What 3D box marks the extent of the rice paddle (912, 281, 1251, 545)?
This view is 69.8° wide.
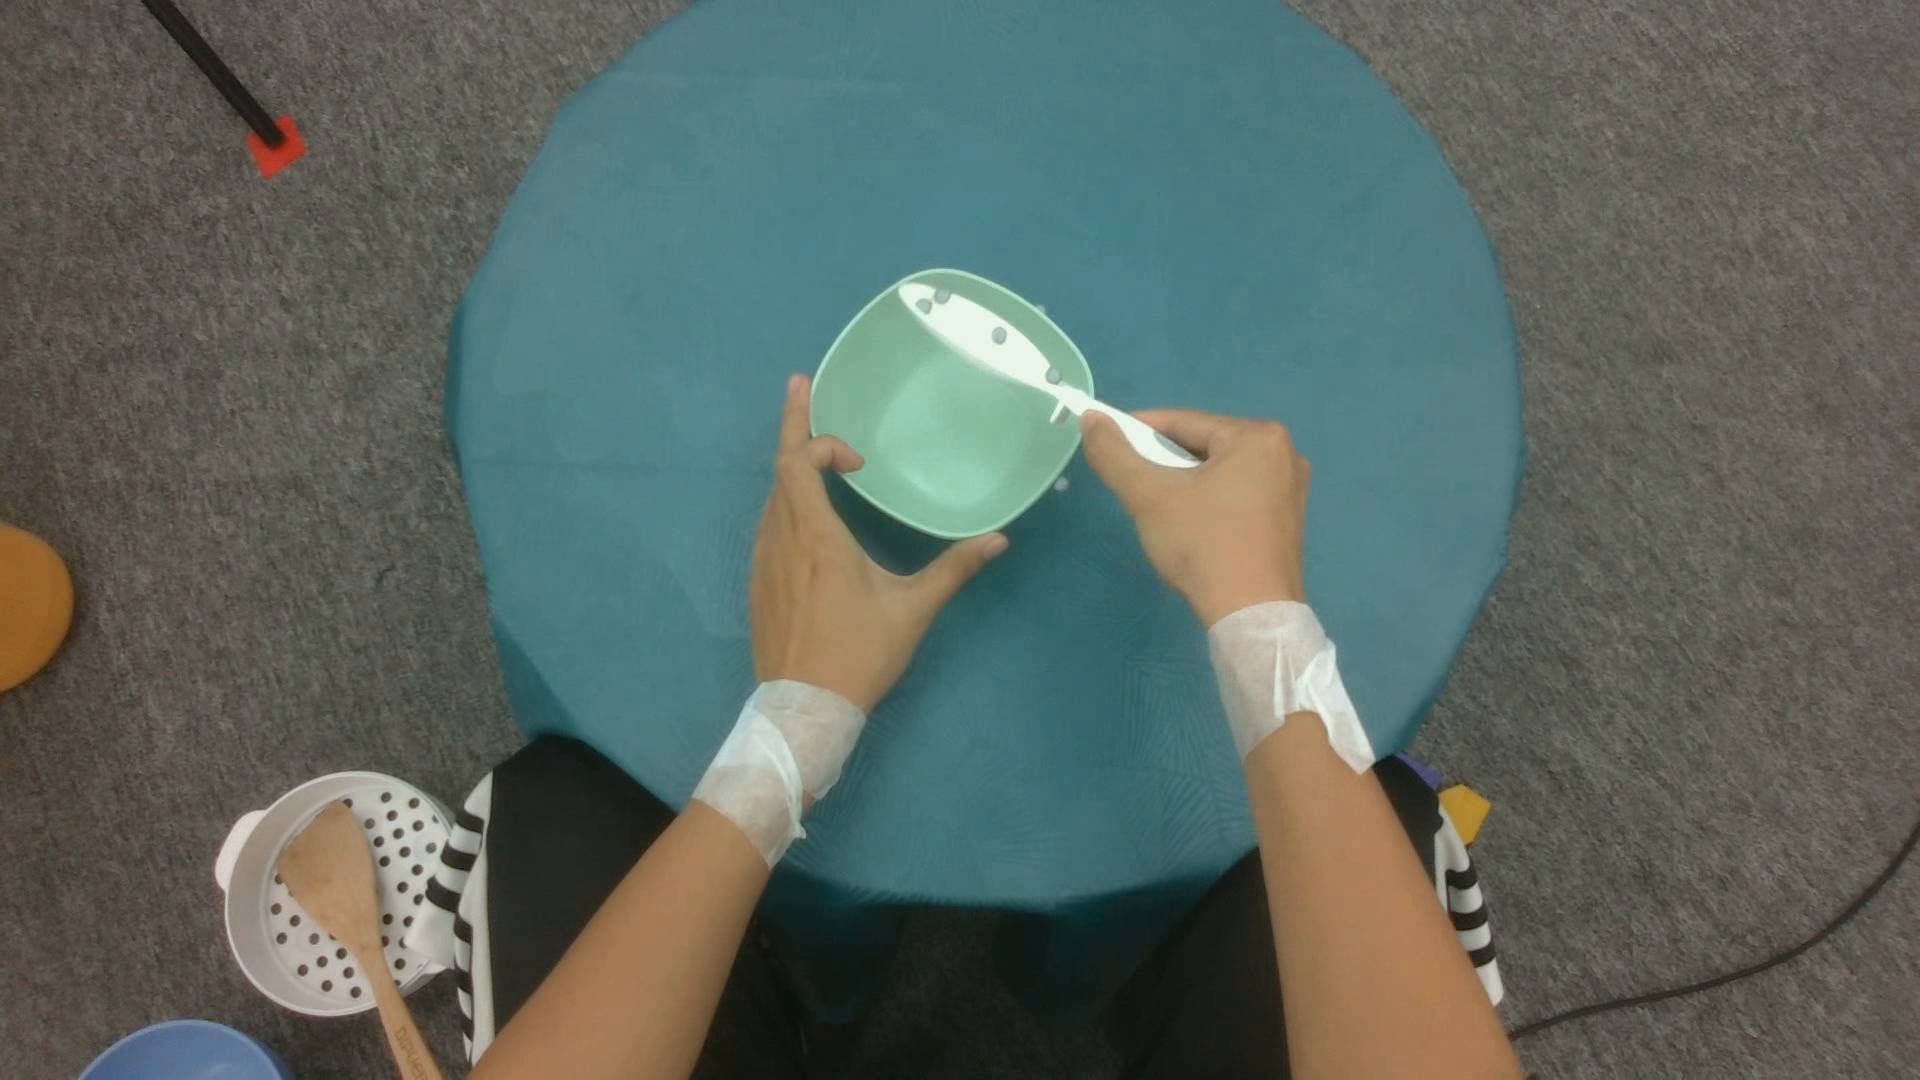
[{"bbox_3d":[0.054,-0.072,0.673,0.205,0.069,0.029,41,113,20],"label":"rice paddle"}]

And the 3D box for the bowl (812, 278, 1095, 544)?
[{"bbox_3d":[-0.004,-0.064,0.757,0.151,0.058,0.152,0,74,-1],"label":"bowl"}]
